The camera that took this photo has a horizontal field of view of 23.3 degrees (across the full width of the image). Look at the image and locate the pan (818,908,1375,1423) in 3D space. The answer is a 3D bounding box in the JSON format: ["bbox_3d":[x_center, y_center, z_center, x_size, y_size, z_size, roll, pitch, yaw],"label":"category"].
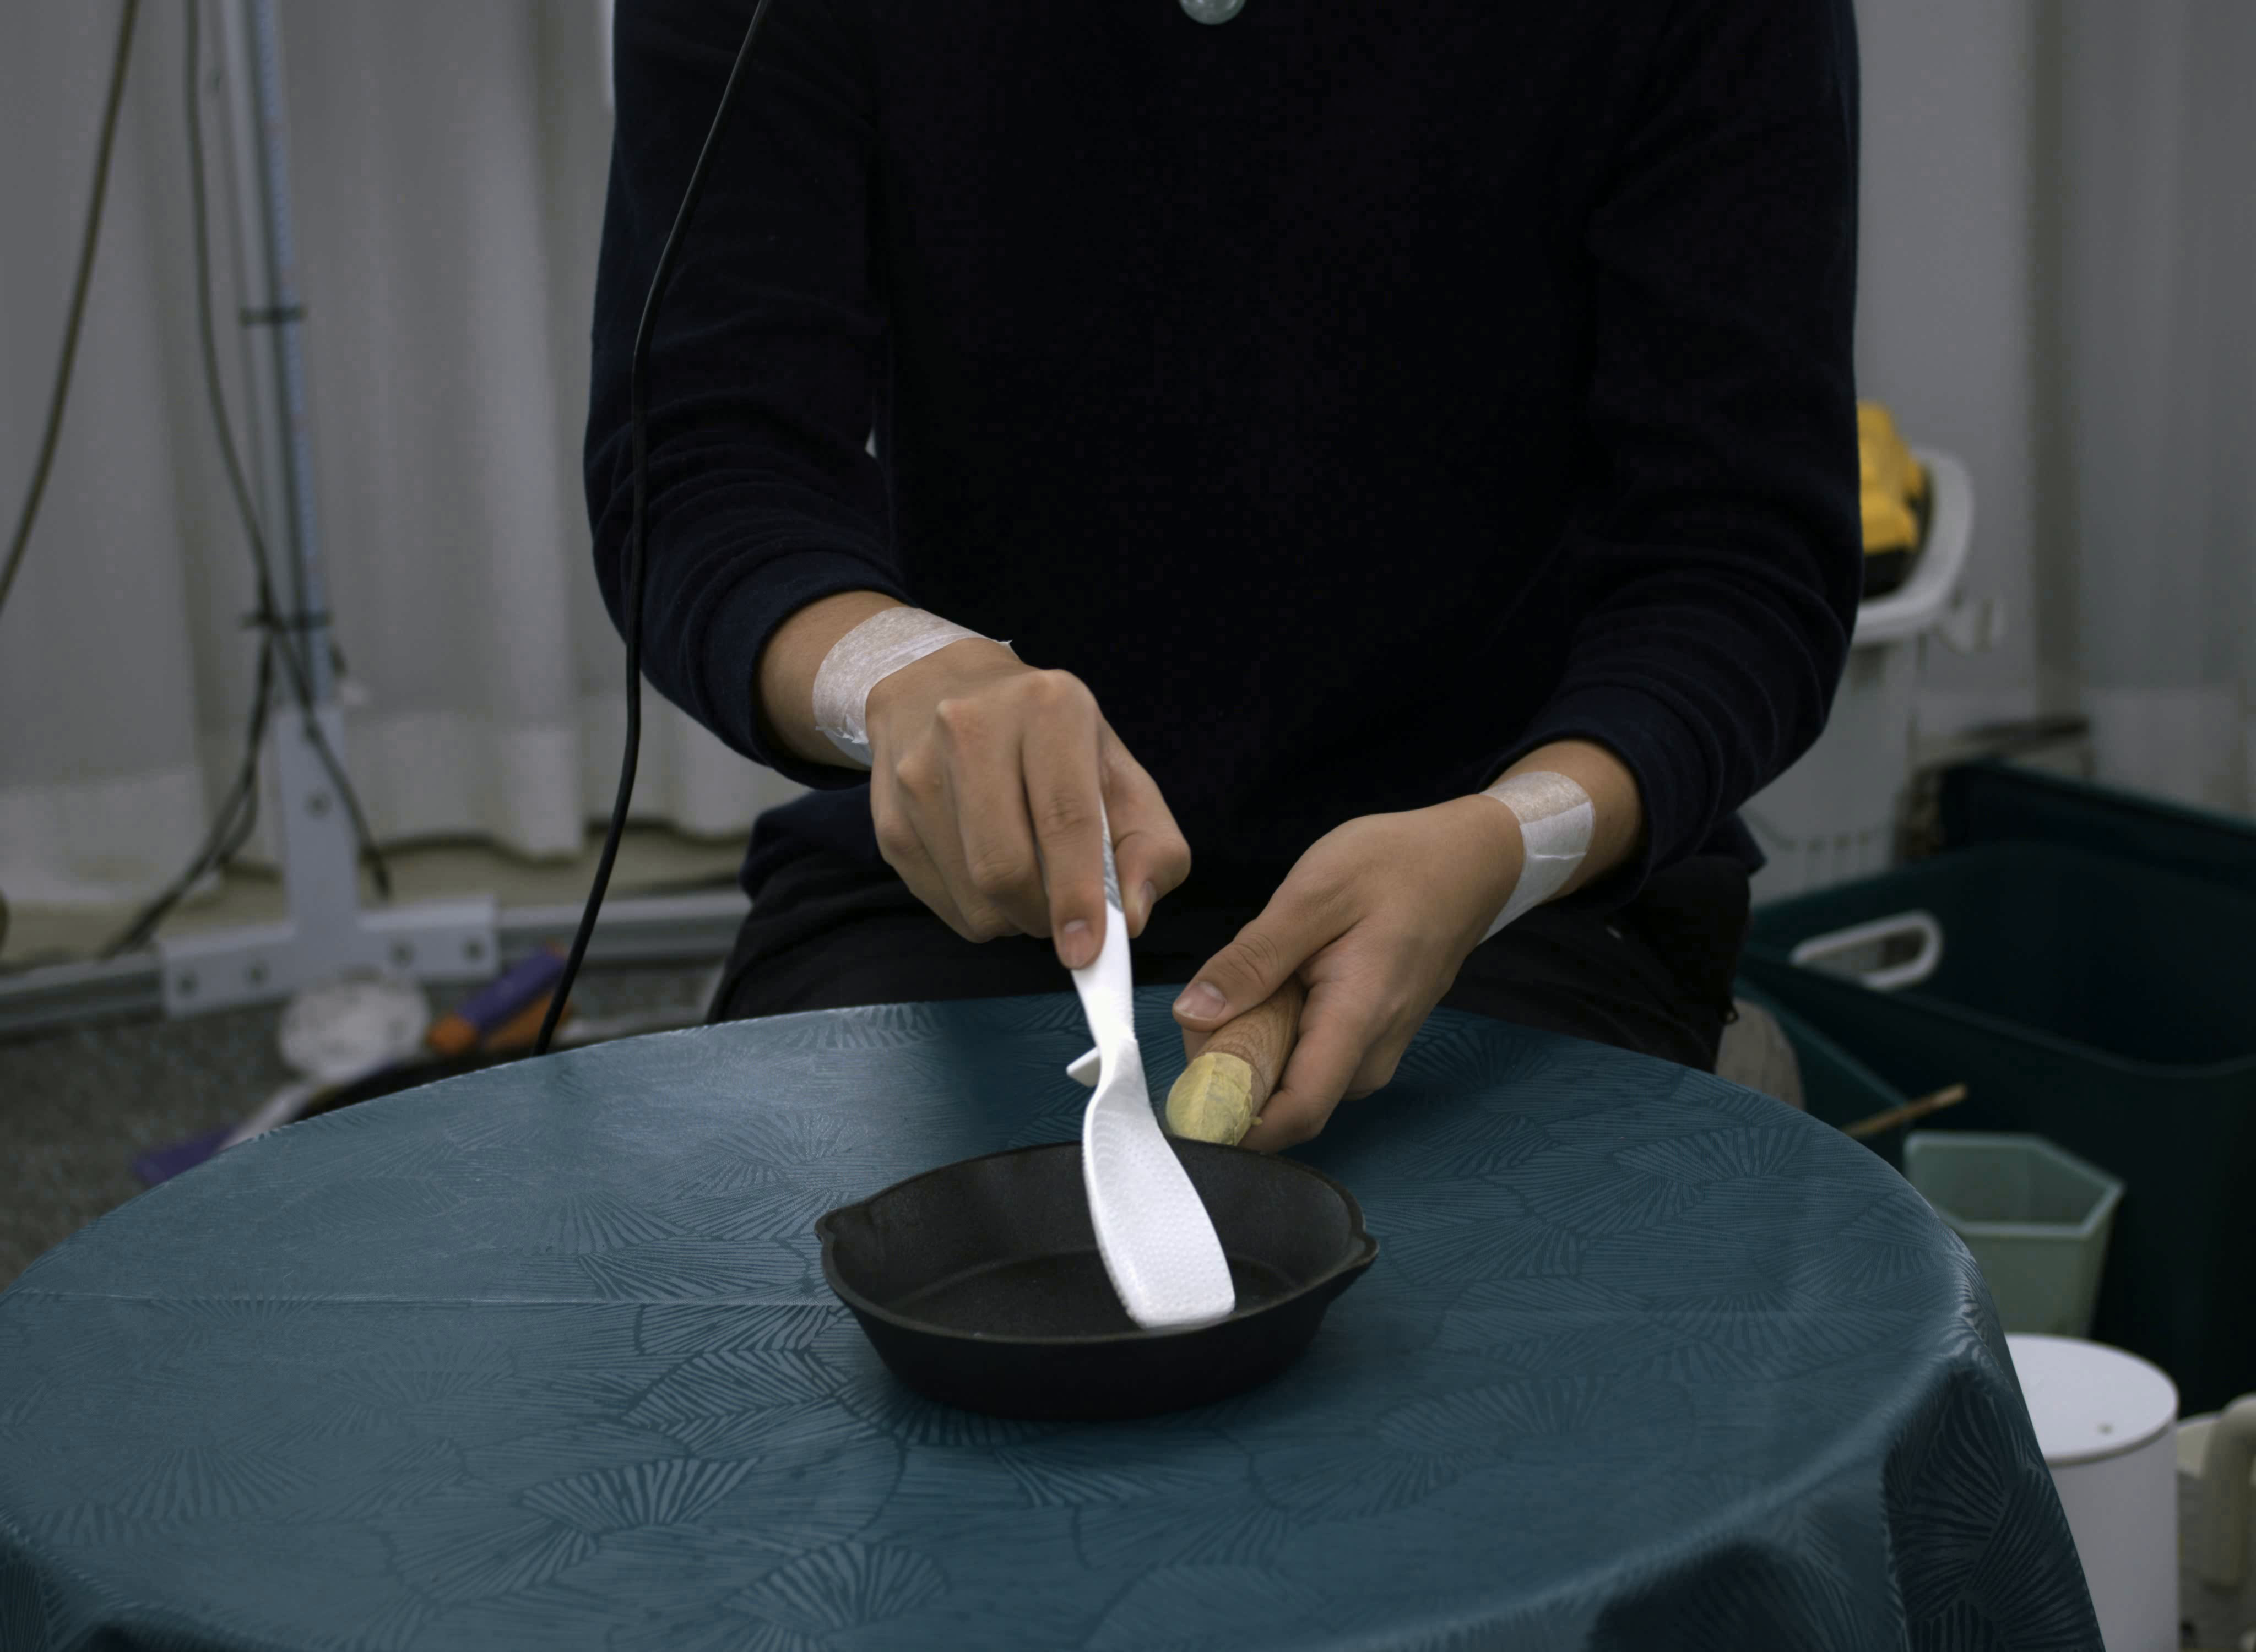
[{"bbox_3d":[0.018,0.099,1.652,0.169,0.049,0.326,2,20,20],"label":"pan"}]

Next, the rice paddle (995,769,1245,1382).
[{"bbox_3d":[-0.001,0.072,1.584,0.029,0.208,0.068,-33,-39,22],"label":"rice paddle"}]
